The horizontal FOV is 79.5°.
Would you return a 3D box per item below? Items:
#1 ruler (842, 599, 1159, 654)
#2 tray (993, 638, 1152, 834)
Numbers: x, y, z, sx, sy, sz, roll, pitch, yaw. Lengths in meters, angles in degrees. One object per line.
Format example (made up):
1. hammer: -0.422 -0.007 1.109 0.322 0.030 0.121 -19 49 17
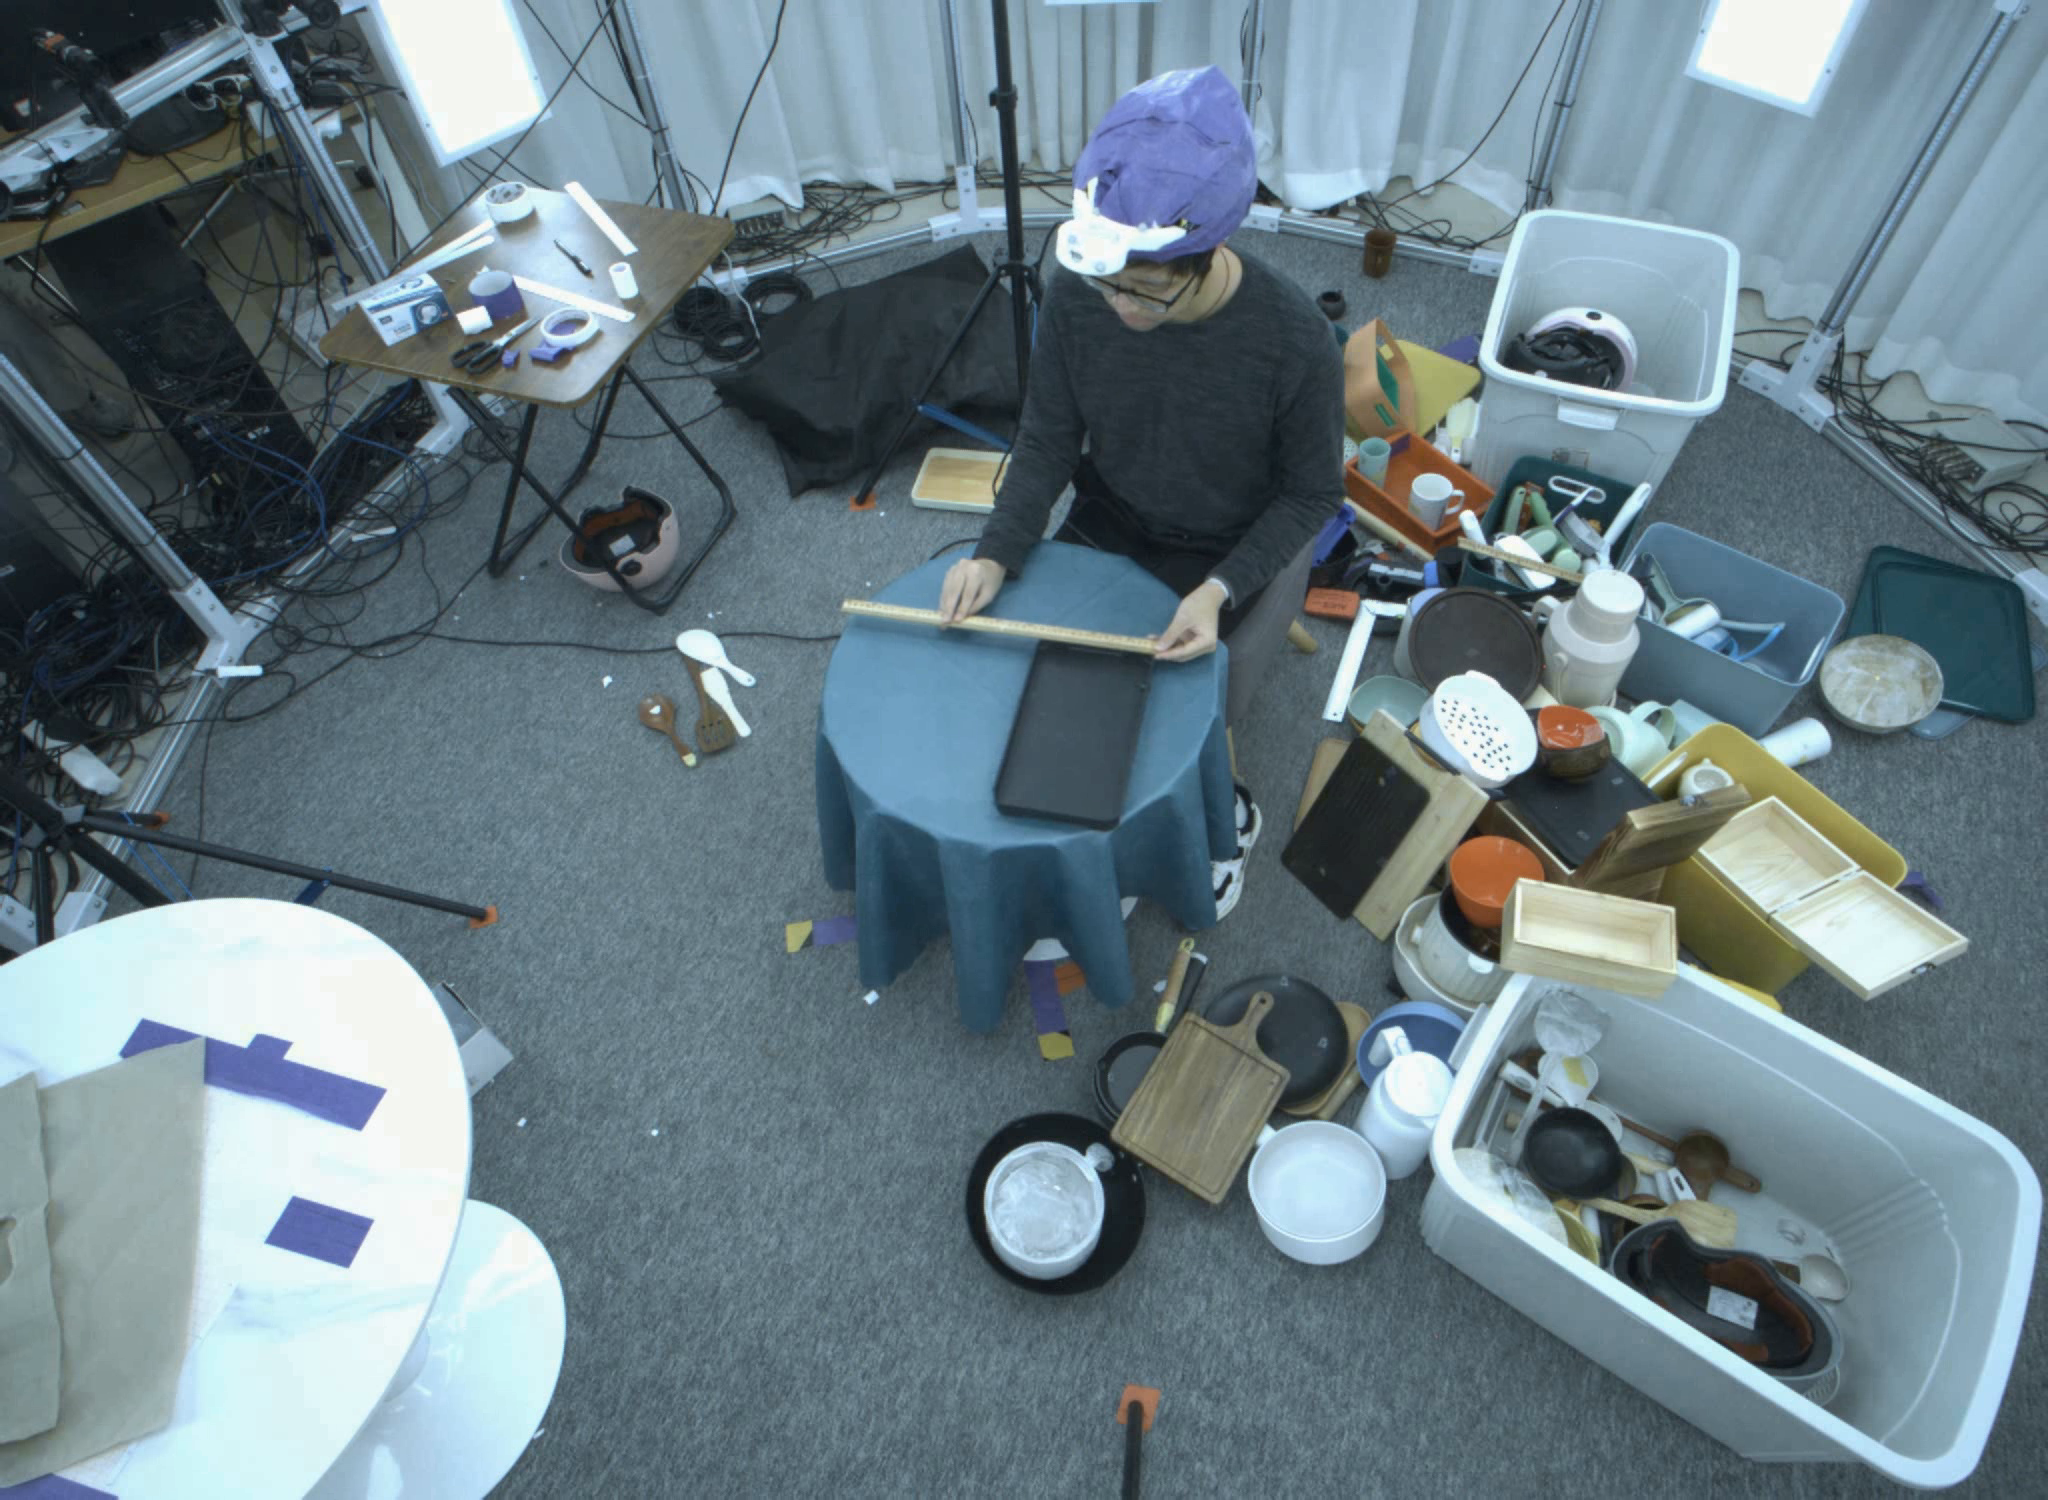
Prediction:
1. ruler: -0.041 -0.191 1.880 0.497 0.006 0.026 9 53 9
2. tray: 0.074 -0.027 1.783 0.183 0.037 0.316 8 55 8
